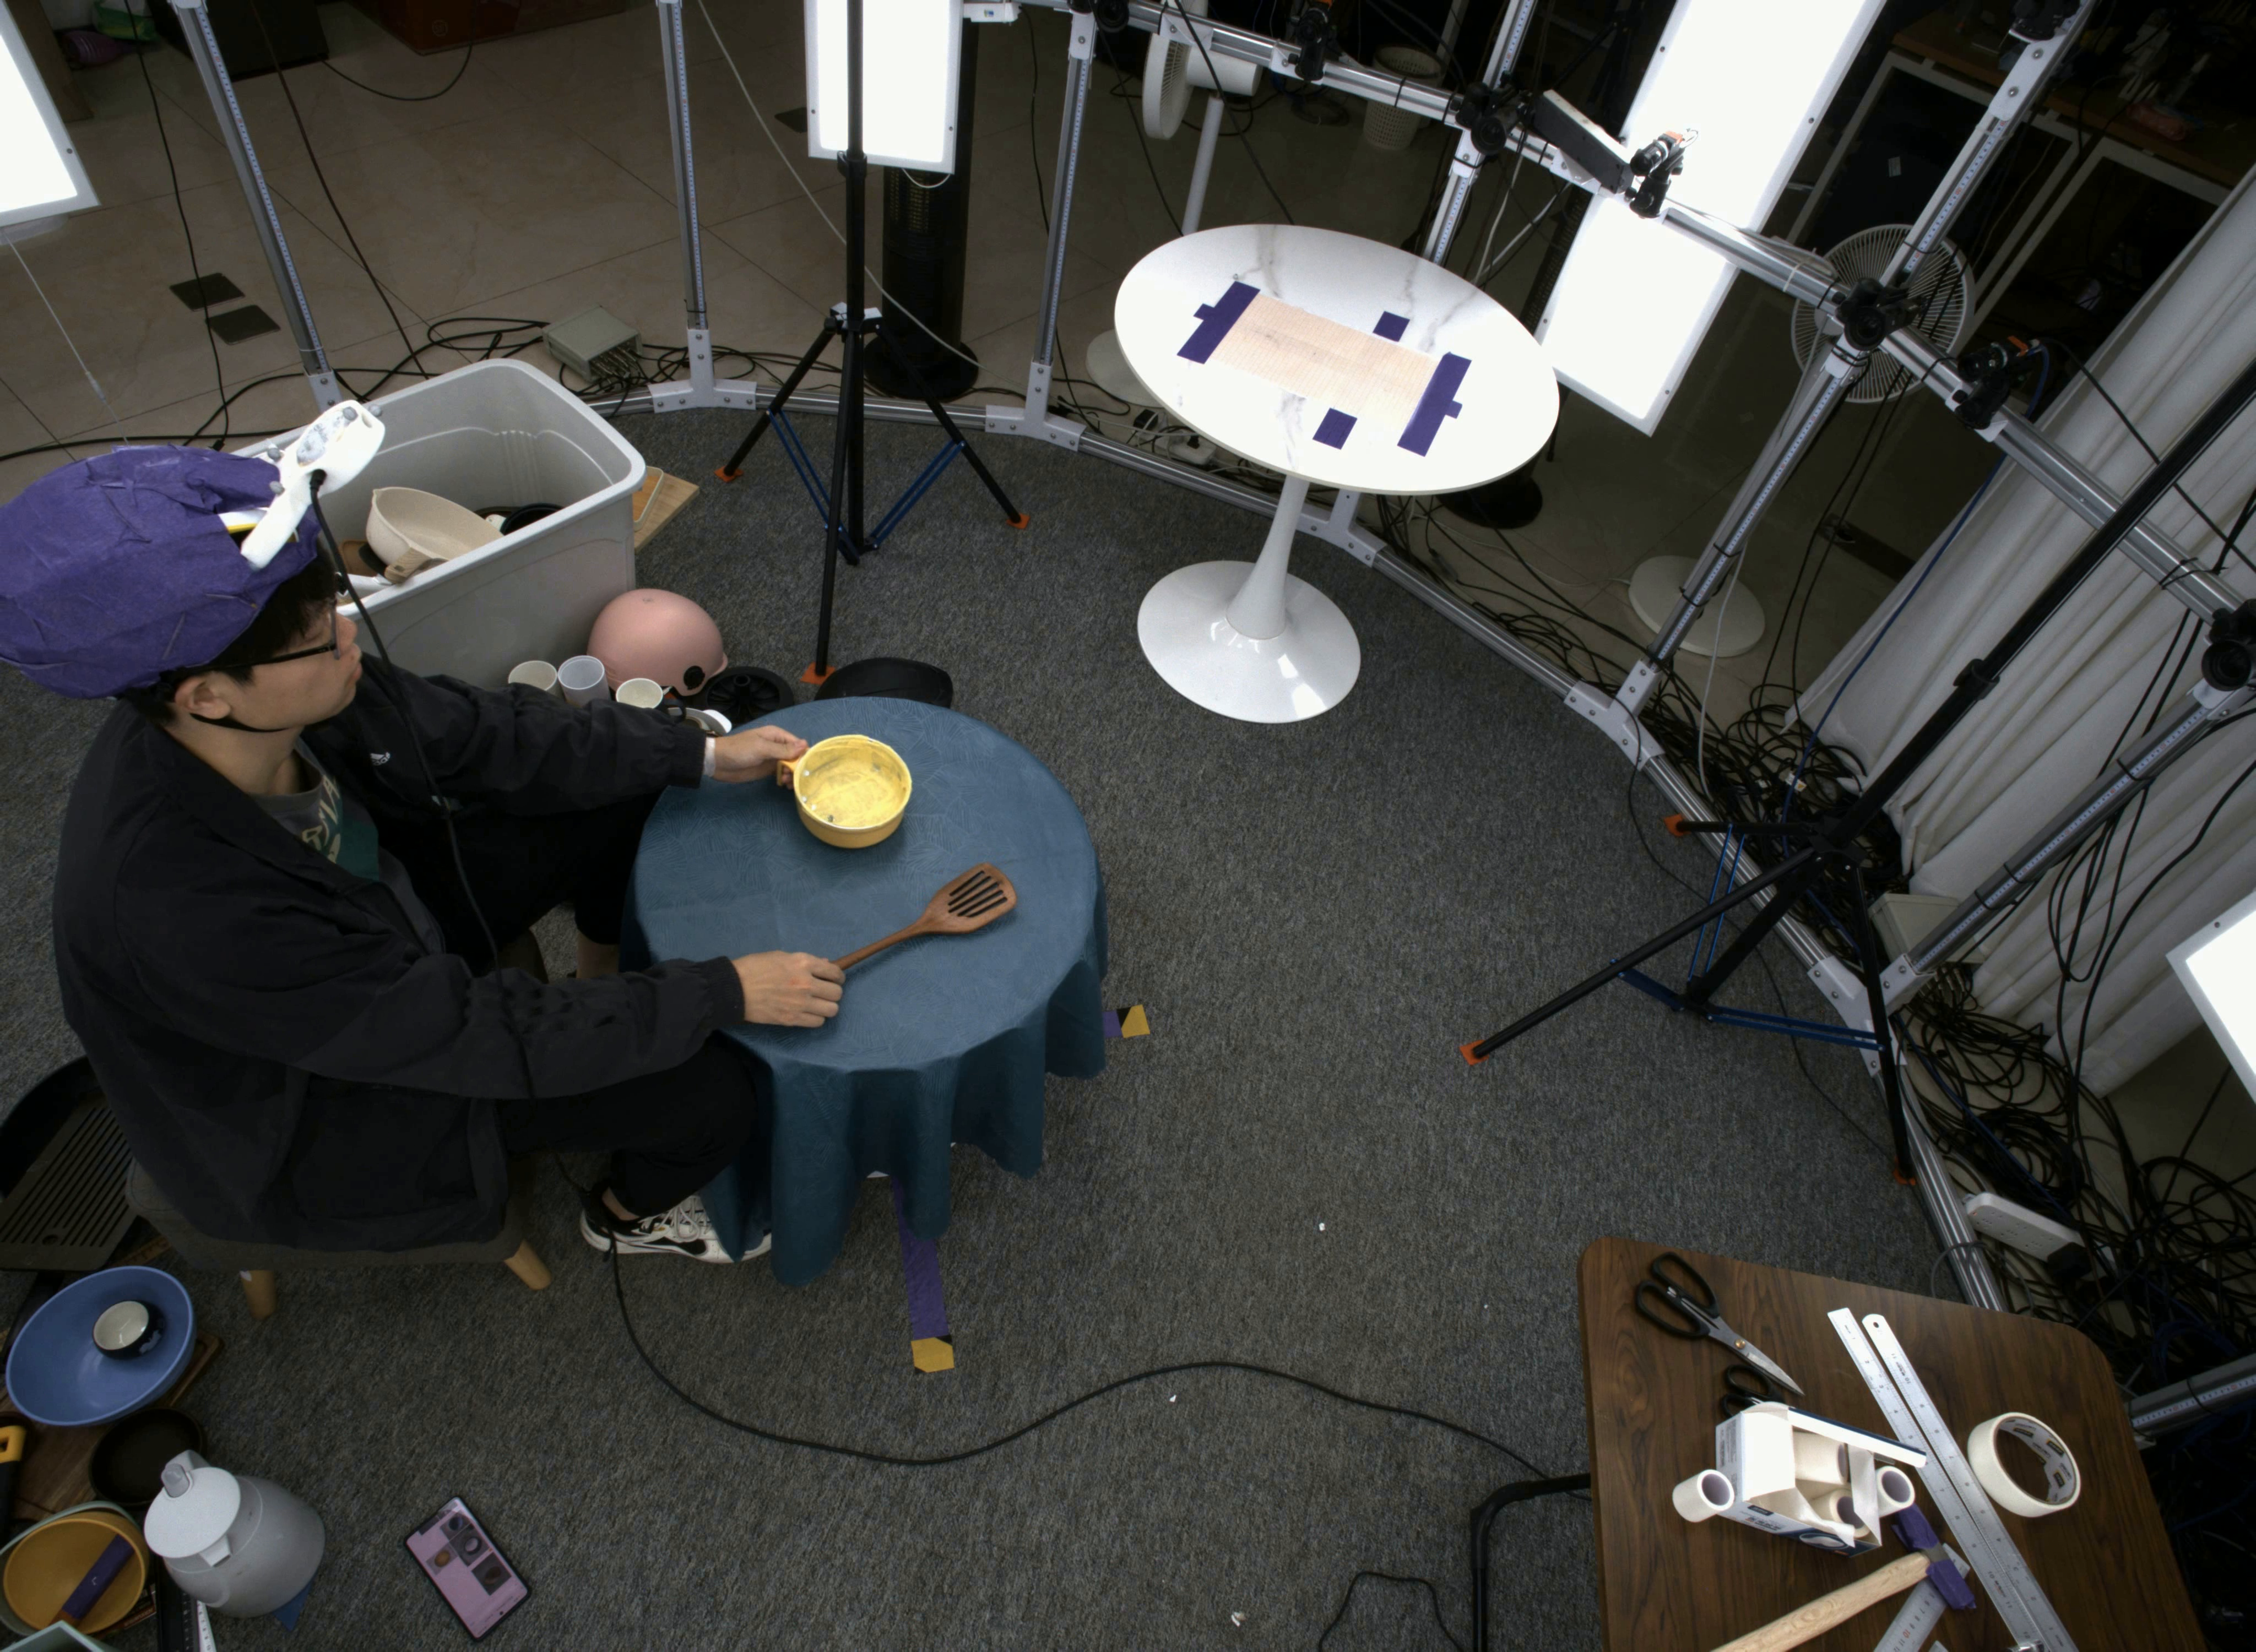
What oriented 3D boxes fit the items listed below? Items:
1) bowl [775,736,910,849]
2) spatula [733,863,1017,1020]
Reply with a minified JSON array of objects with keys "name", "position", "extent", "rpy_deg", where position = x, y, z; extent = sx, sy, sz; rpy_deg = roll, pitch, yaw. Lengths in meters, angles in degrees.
[{"name":"bowl","position":[-0.381,-0.047,1.722],"extent":[0.178,0.075,0.151],"rpy_deg":[20,53,-4]},{"name":"spatula","position":[-0.312,0.148,1.619],"extent":[0.388,0.024,0.083],"rpy_deg":[-25,59,-30]}]
